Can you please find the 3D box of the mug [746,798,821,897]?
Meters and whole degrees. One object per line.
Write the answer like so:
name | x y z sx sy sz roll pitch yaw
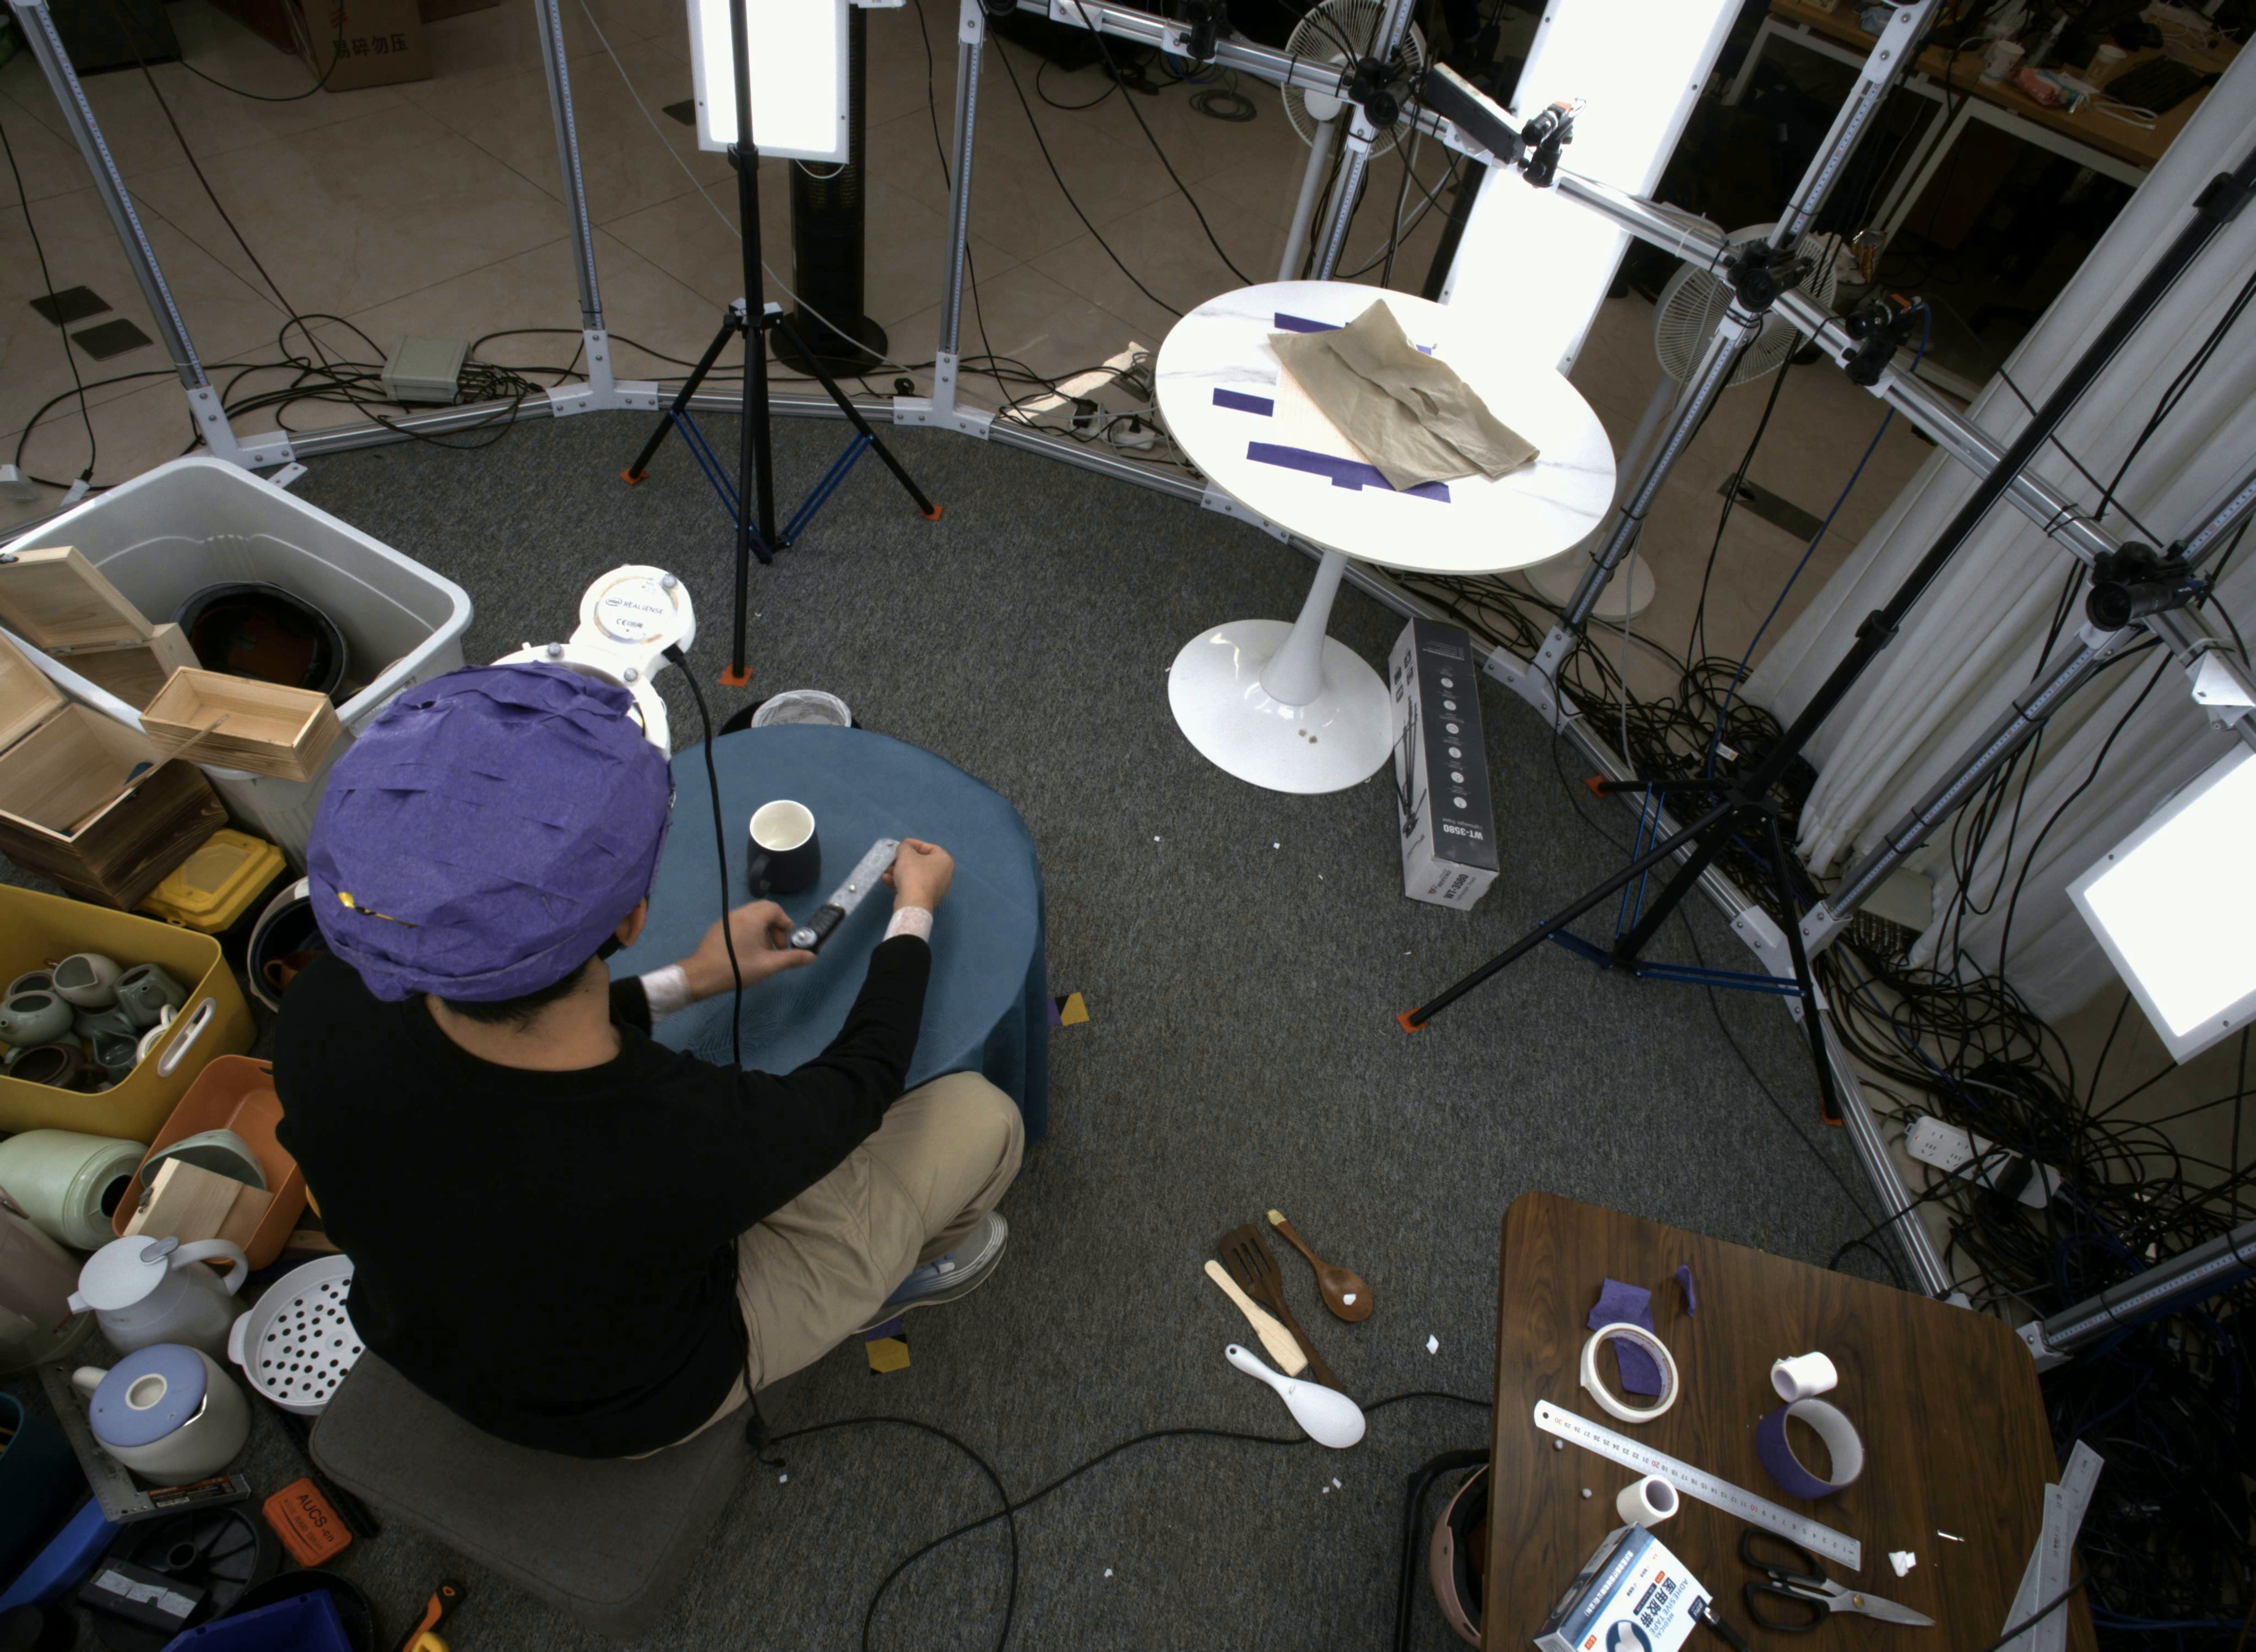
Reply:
mug | -0.443 0.033 1.629 0.092 0.092 0.122 22 50 5

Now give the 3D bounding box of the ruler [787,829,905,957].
ruler | -0.345 0.073 1.585 0.037 0.025 0.217 25 49 10
